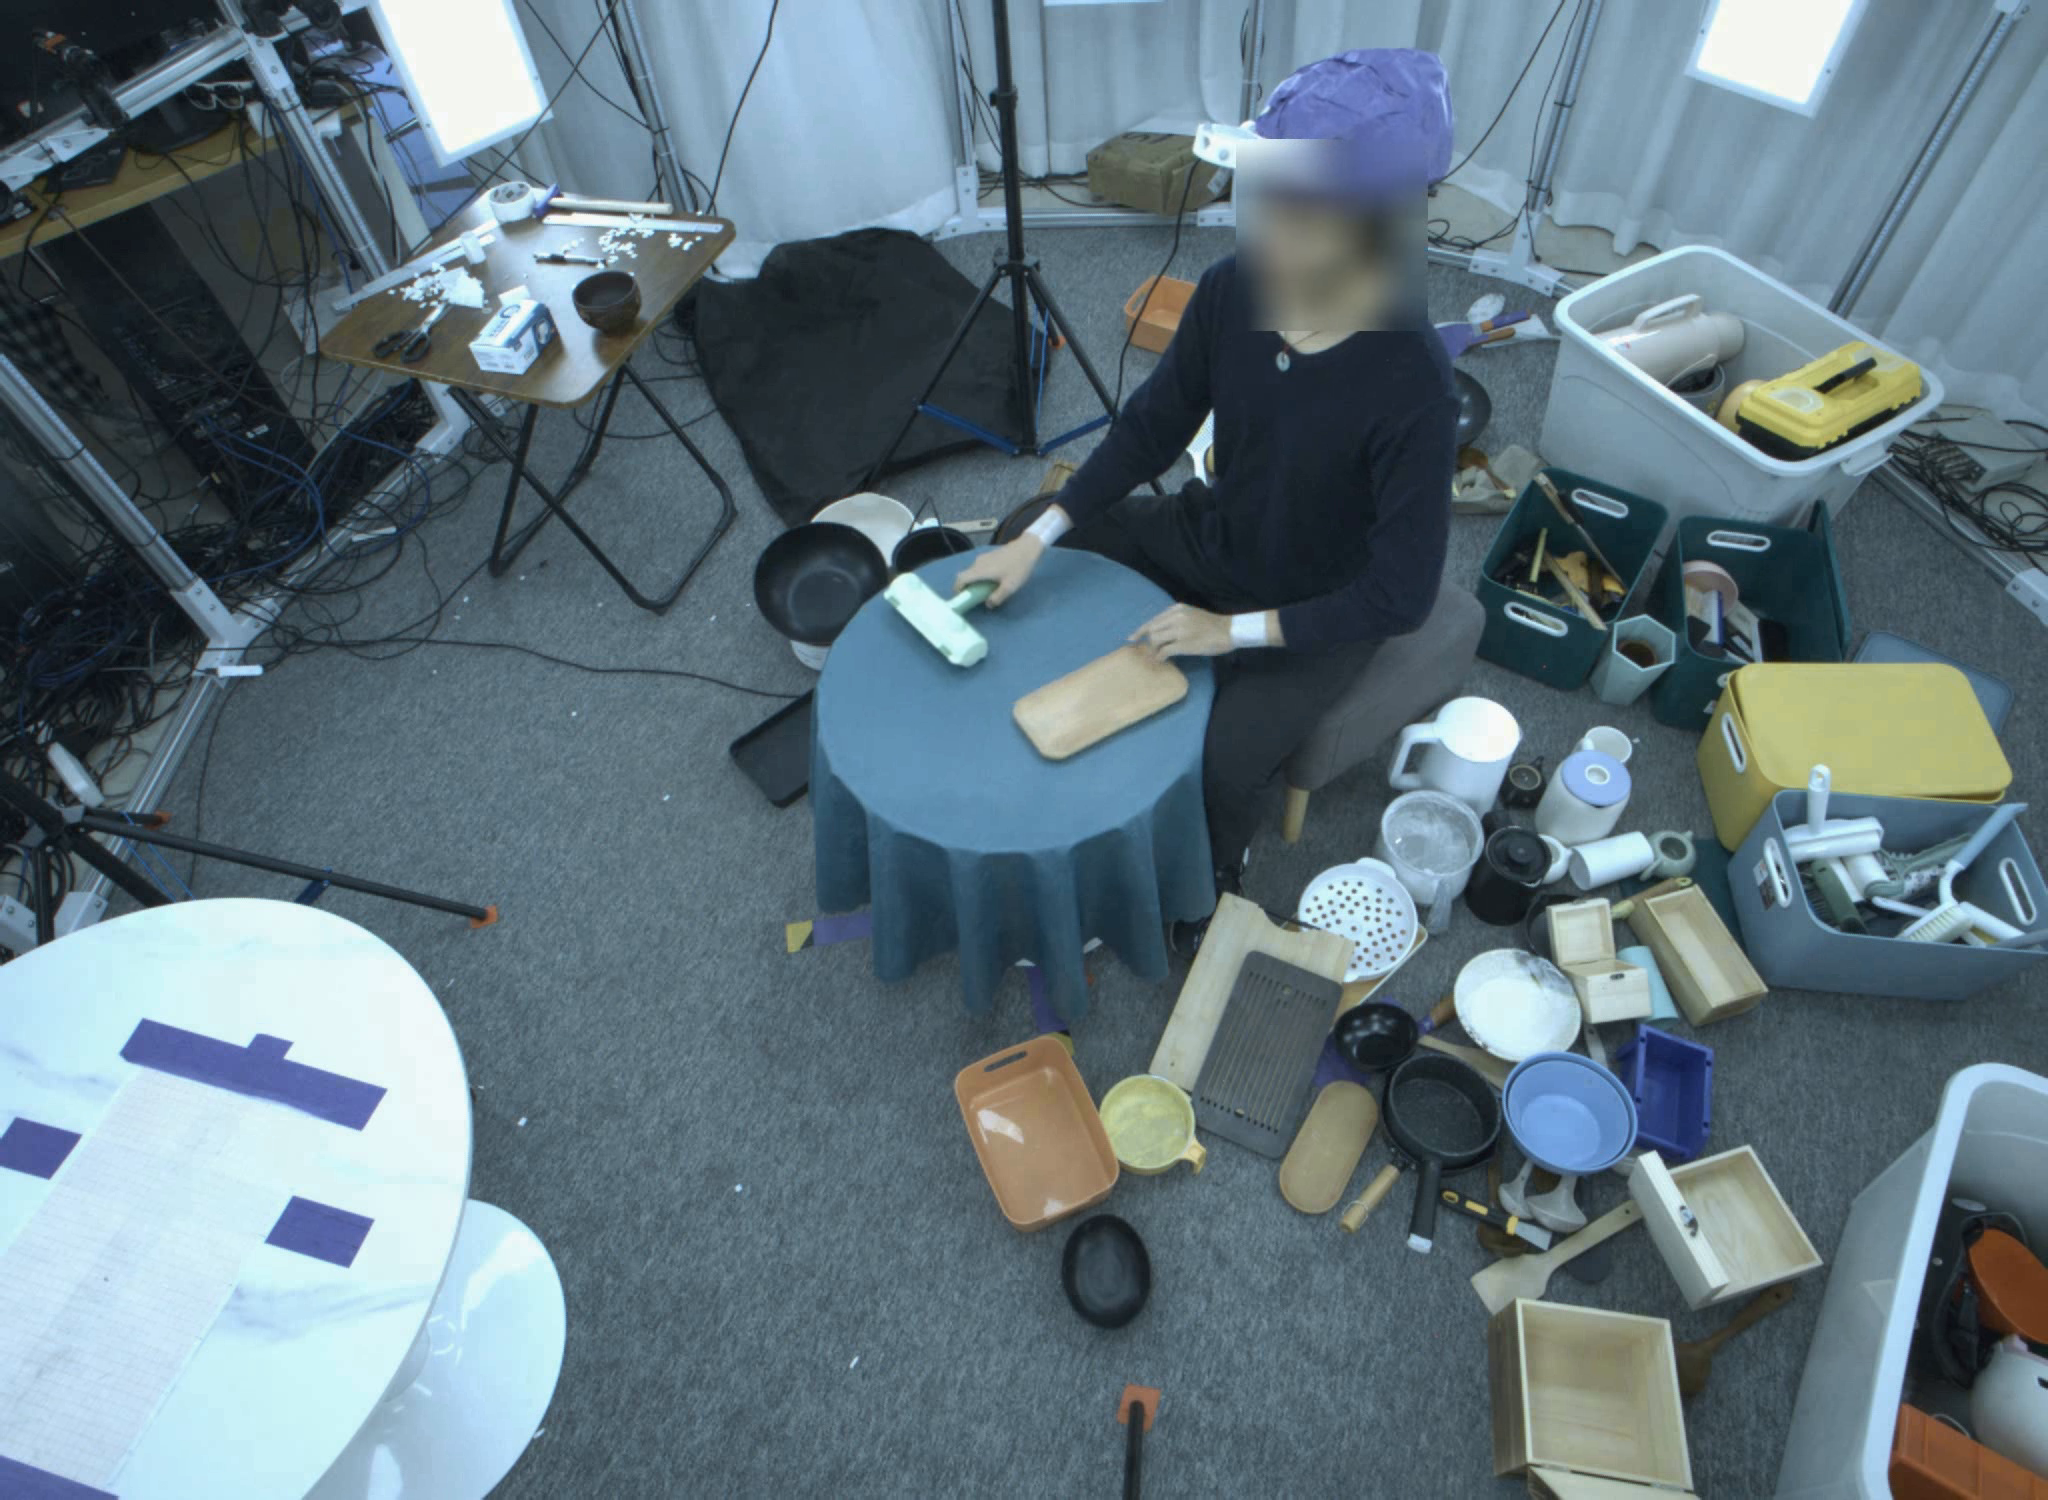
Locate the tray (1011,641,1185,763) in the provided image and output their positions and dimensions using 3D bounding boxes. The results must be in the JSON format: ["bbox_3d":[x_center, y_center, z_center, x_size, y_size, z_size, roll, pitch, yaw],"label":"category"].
[{"bbox_3d":[0.110,-0.072,1.822,0.252,0.023,0.128,-27,60,-16],"label":"tray"}]

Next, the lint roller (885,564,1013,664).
[{"bbox_3d":[-0.095,-0.245,1.902,0.184,0.083,0.195,-41,63,-10],"label":"lint roller"}]
